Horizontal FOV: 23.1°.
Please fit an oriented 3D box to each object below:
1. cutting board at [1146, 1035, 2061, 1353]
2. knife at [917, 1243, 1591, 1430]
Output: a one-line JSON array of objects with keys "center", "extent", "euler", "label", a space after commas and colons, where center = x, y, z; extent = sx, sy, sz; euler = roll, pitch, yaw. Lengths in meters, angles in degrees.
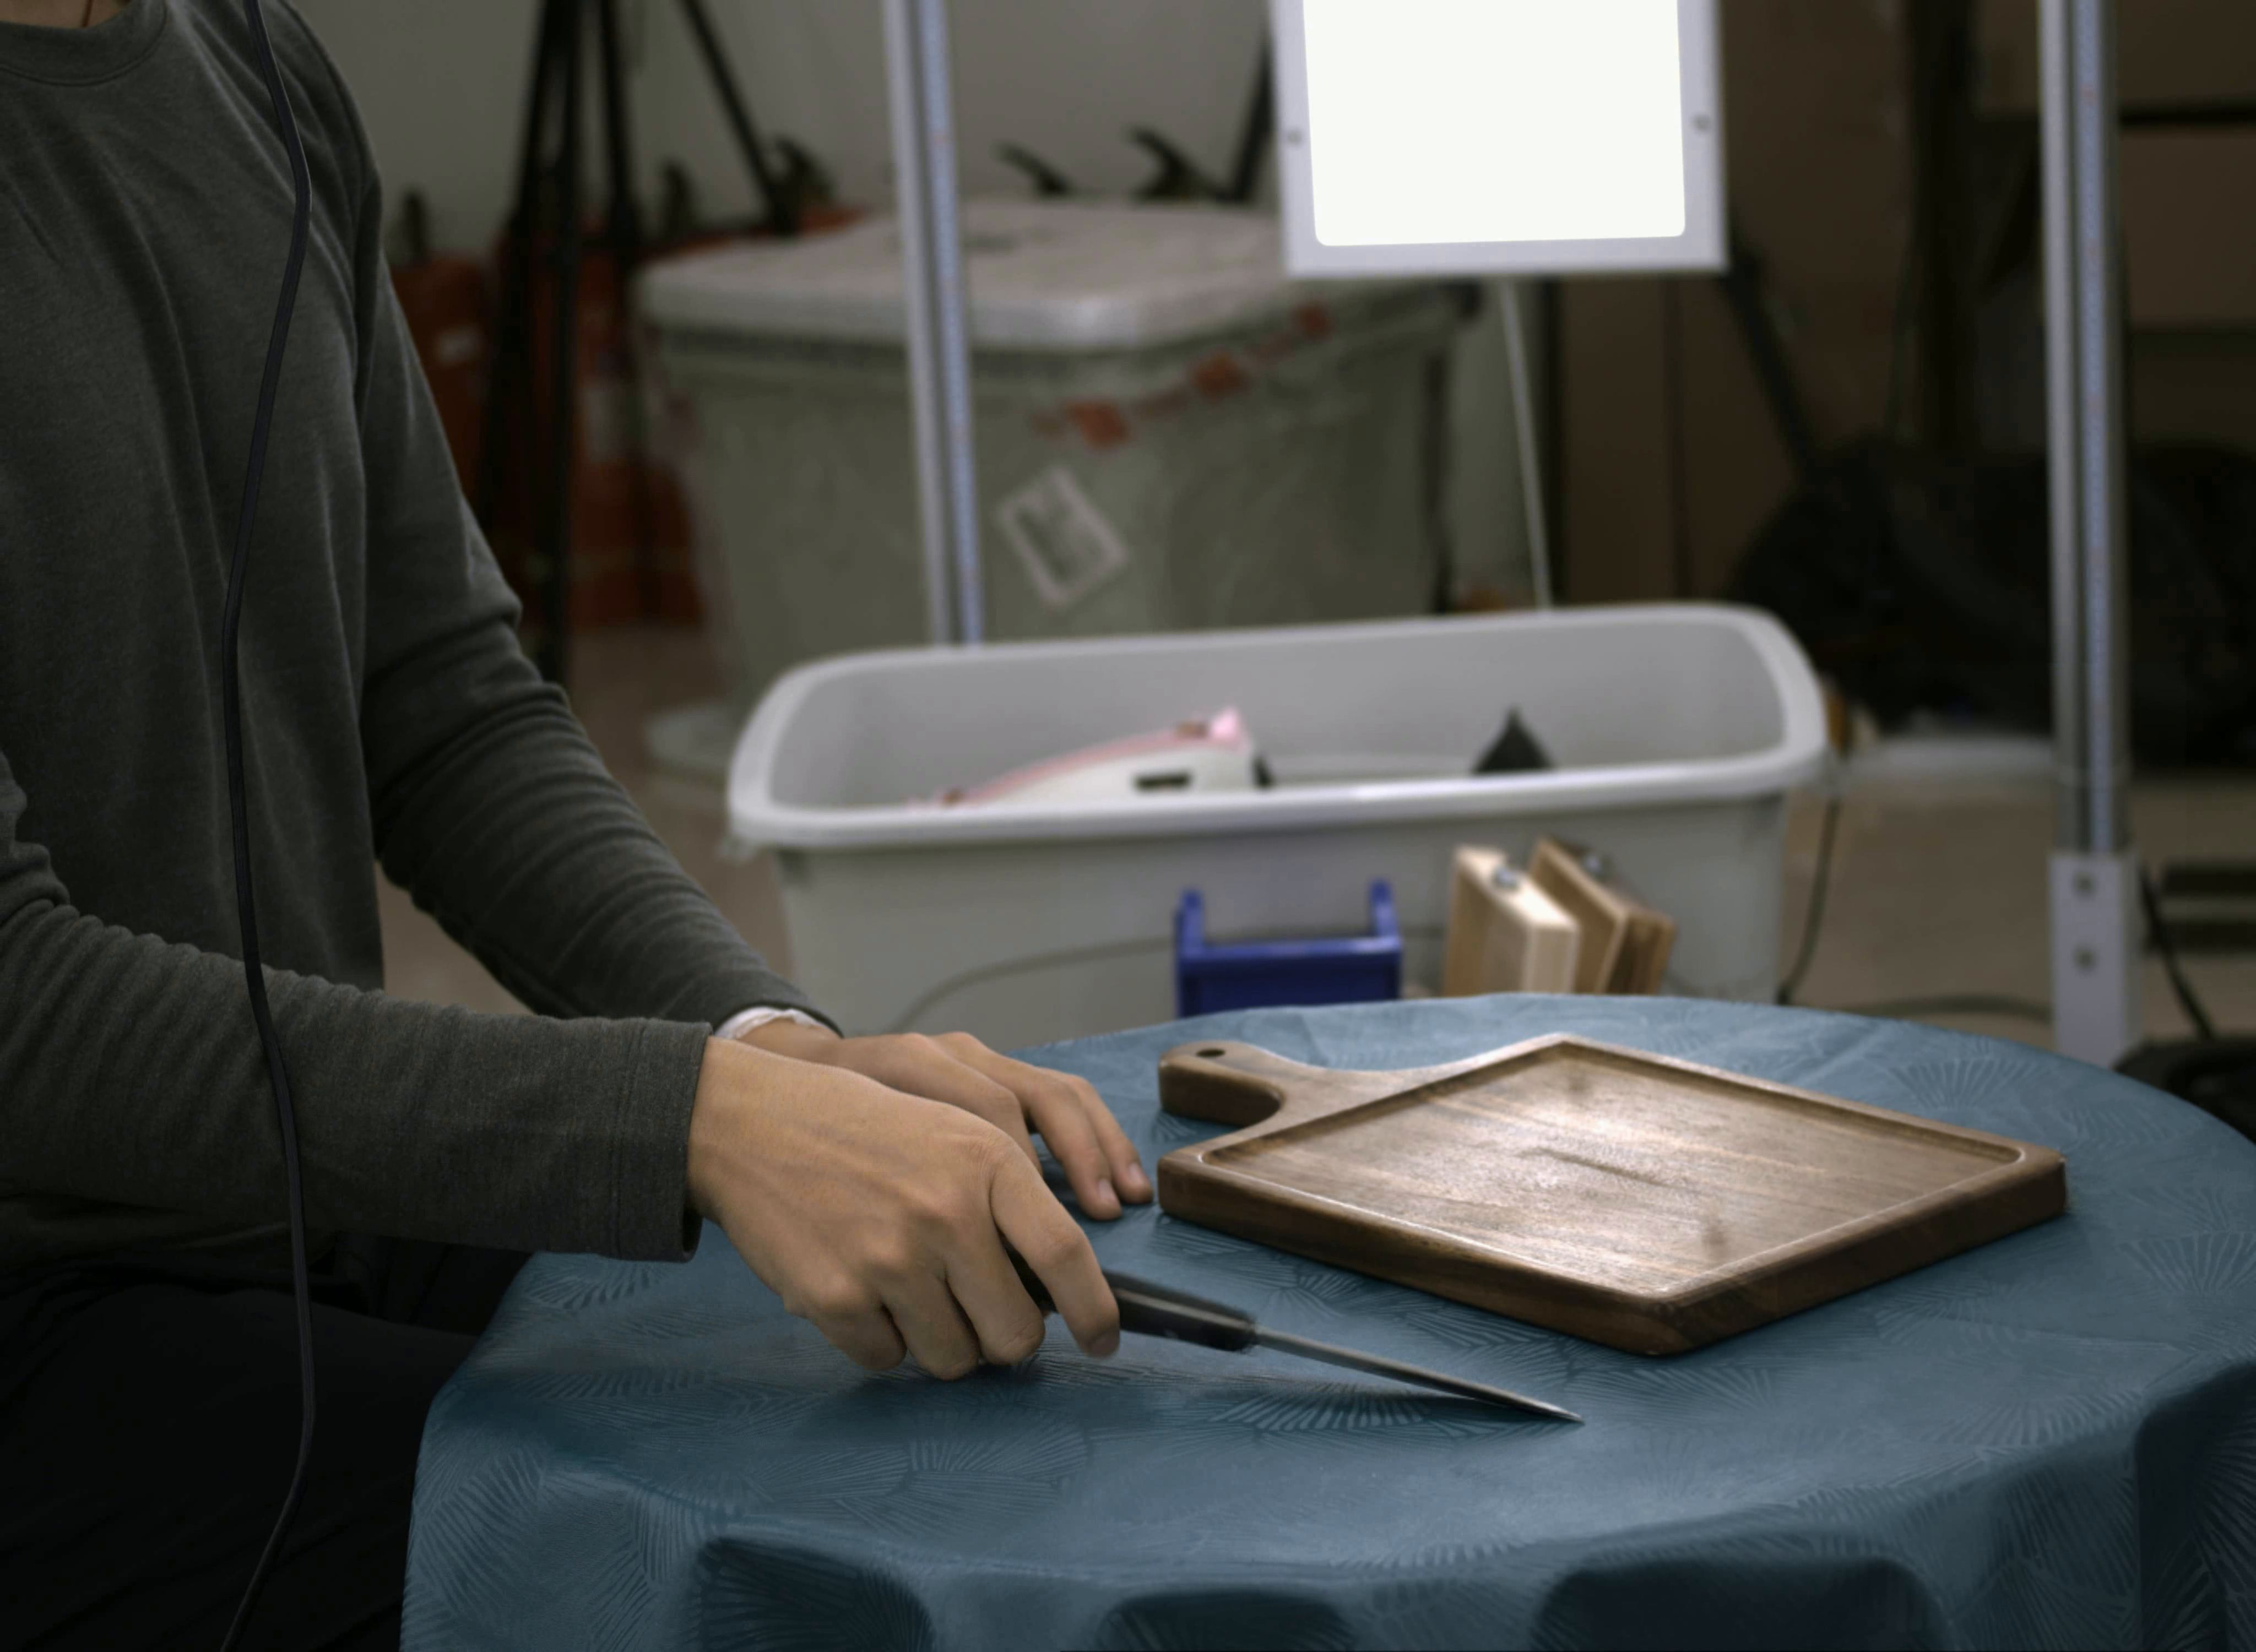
[{"center": [0.128, 0.112, 1.872], "extent": [0.196, 0.023, 0.359], "euler": [-15, 16, -36], "label": "cutting board"}, {"center": [0.035, 0.159, 1.700], "extent": [0.242, 0.016, 0.024], "euler": [11, -4, 30], "label": "knife"}]
